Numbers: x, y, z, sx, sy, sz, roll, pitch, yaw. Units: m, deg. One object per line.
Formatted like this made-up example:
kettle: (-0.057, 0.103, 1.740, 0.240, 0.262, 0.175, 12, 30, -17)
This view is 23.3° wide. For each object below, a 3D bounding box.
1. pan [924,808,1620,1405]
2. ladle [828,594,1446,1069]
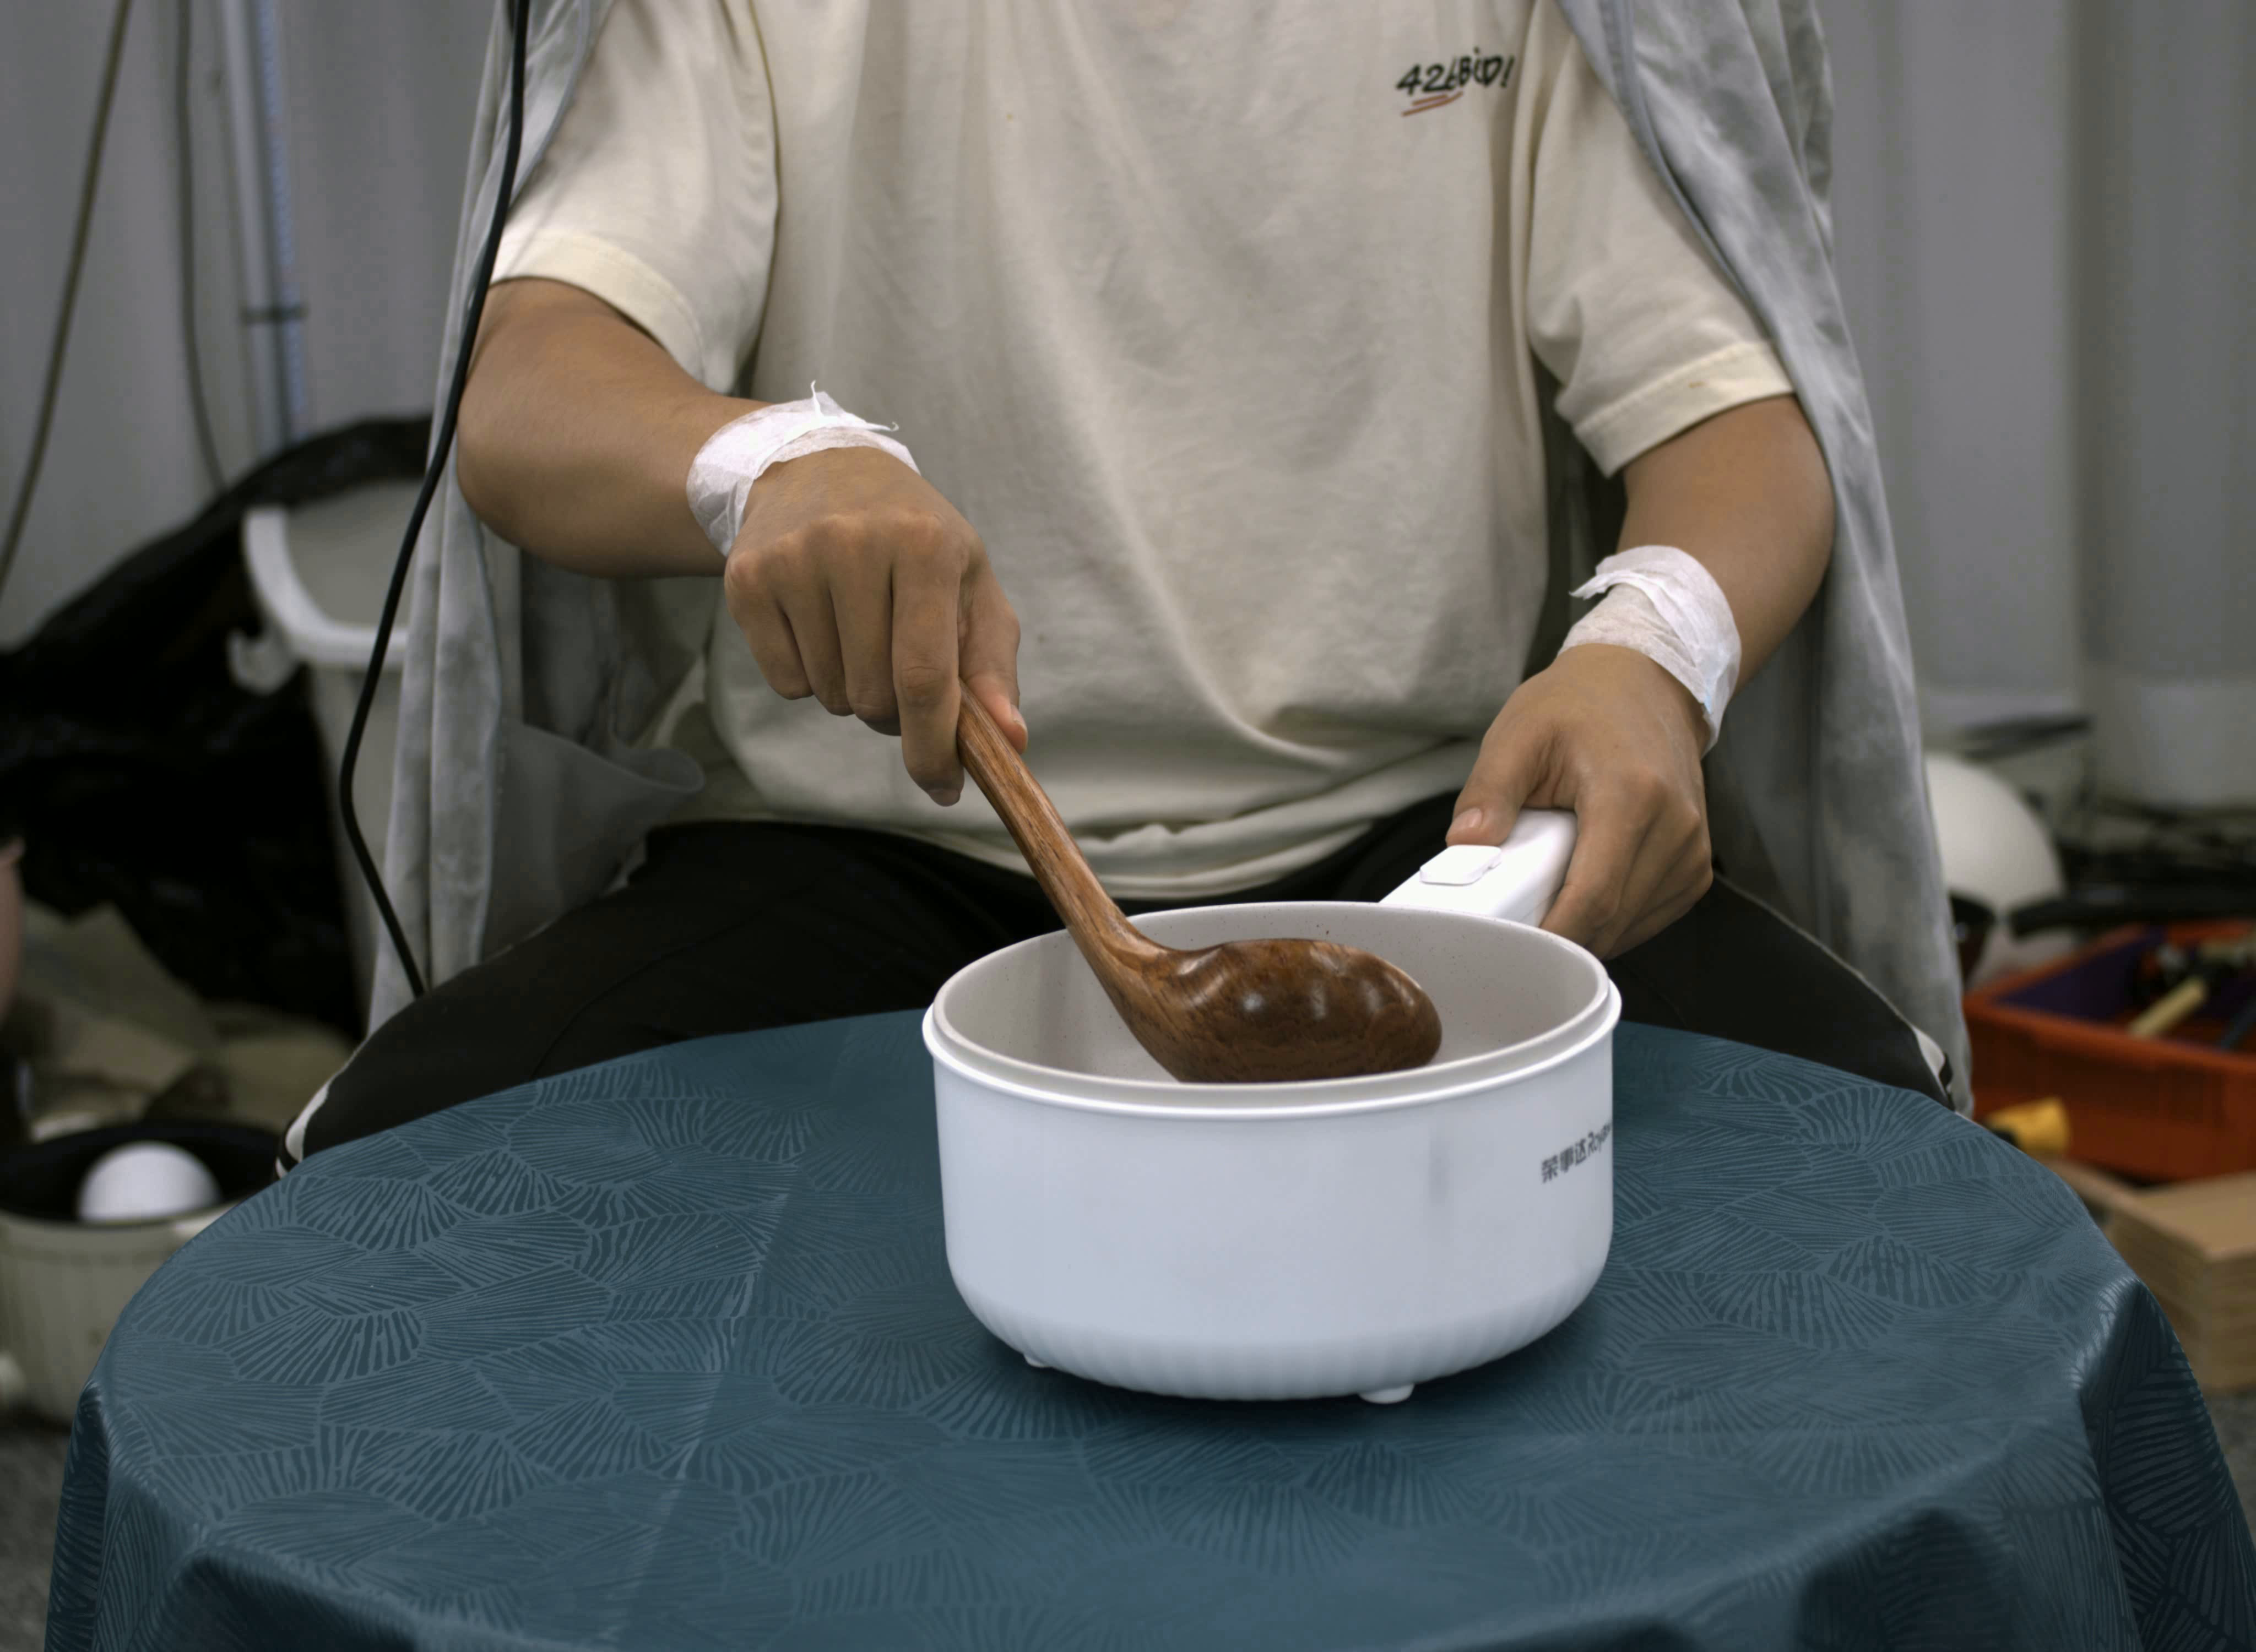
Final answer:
pan: (0.073, 0.080, 1.653, 0.201, 0.102, 0.355, 2, 14, 23)
ladle: (0.001, 0.000, 1.656, 0.076, 0.081, 0.278, -15, 41, -24)
